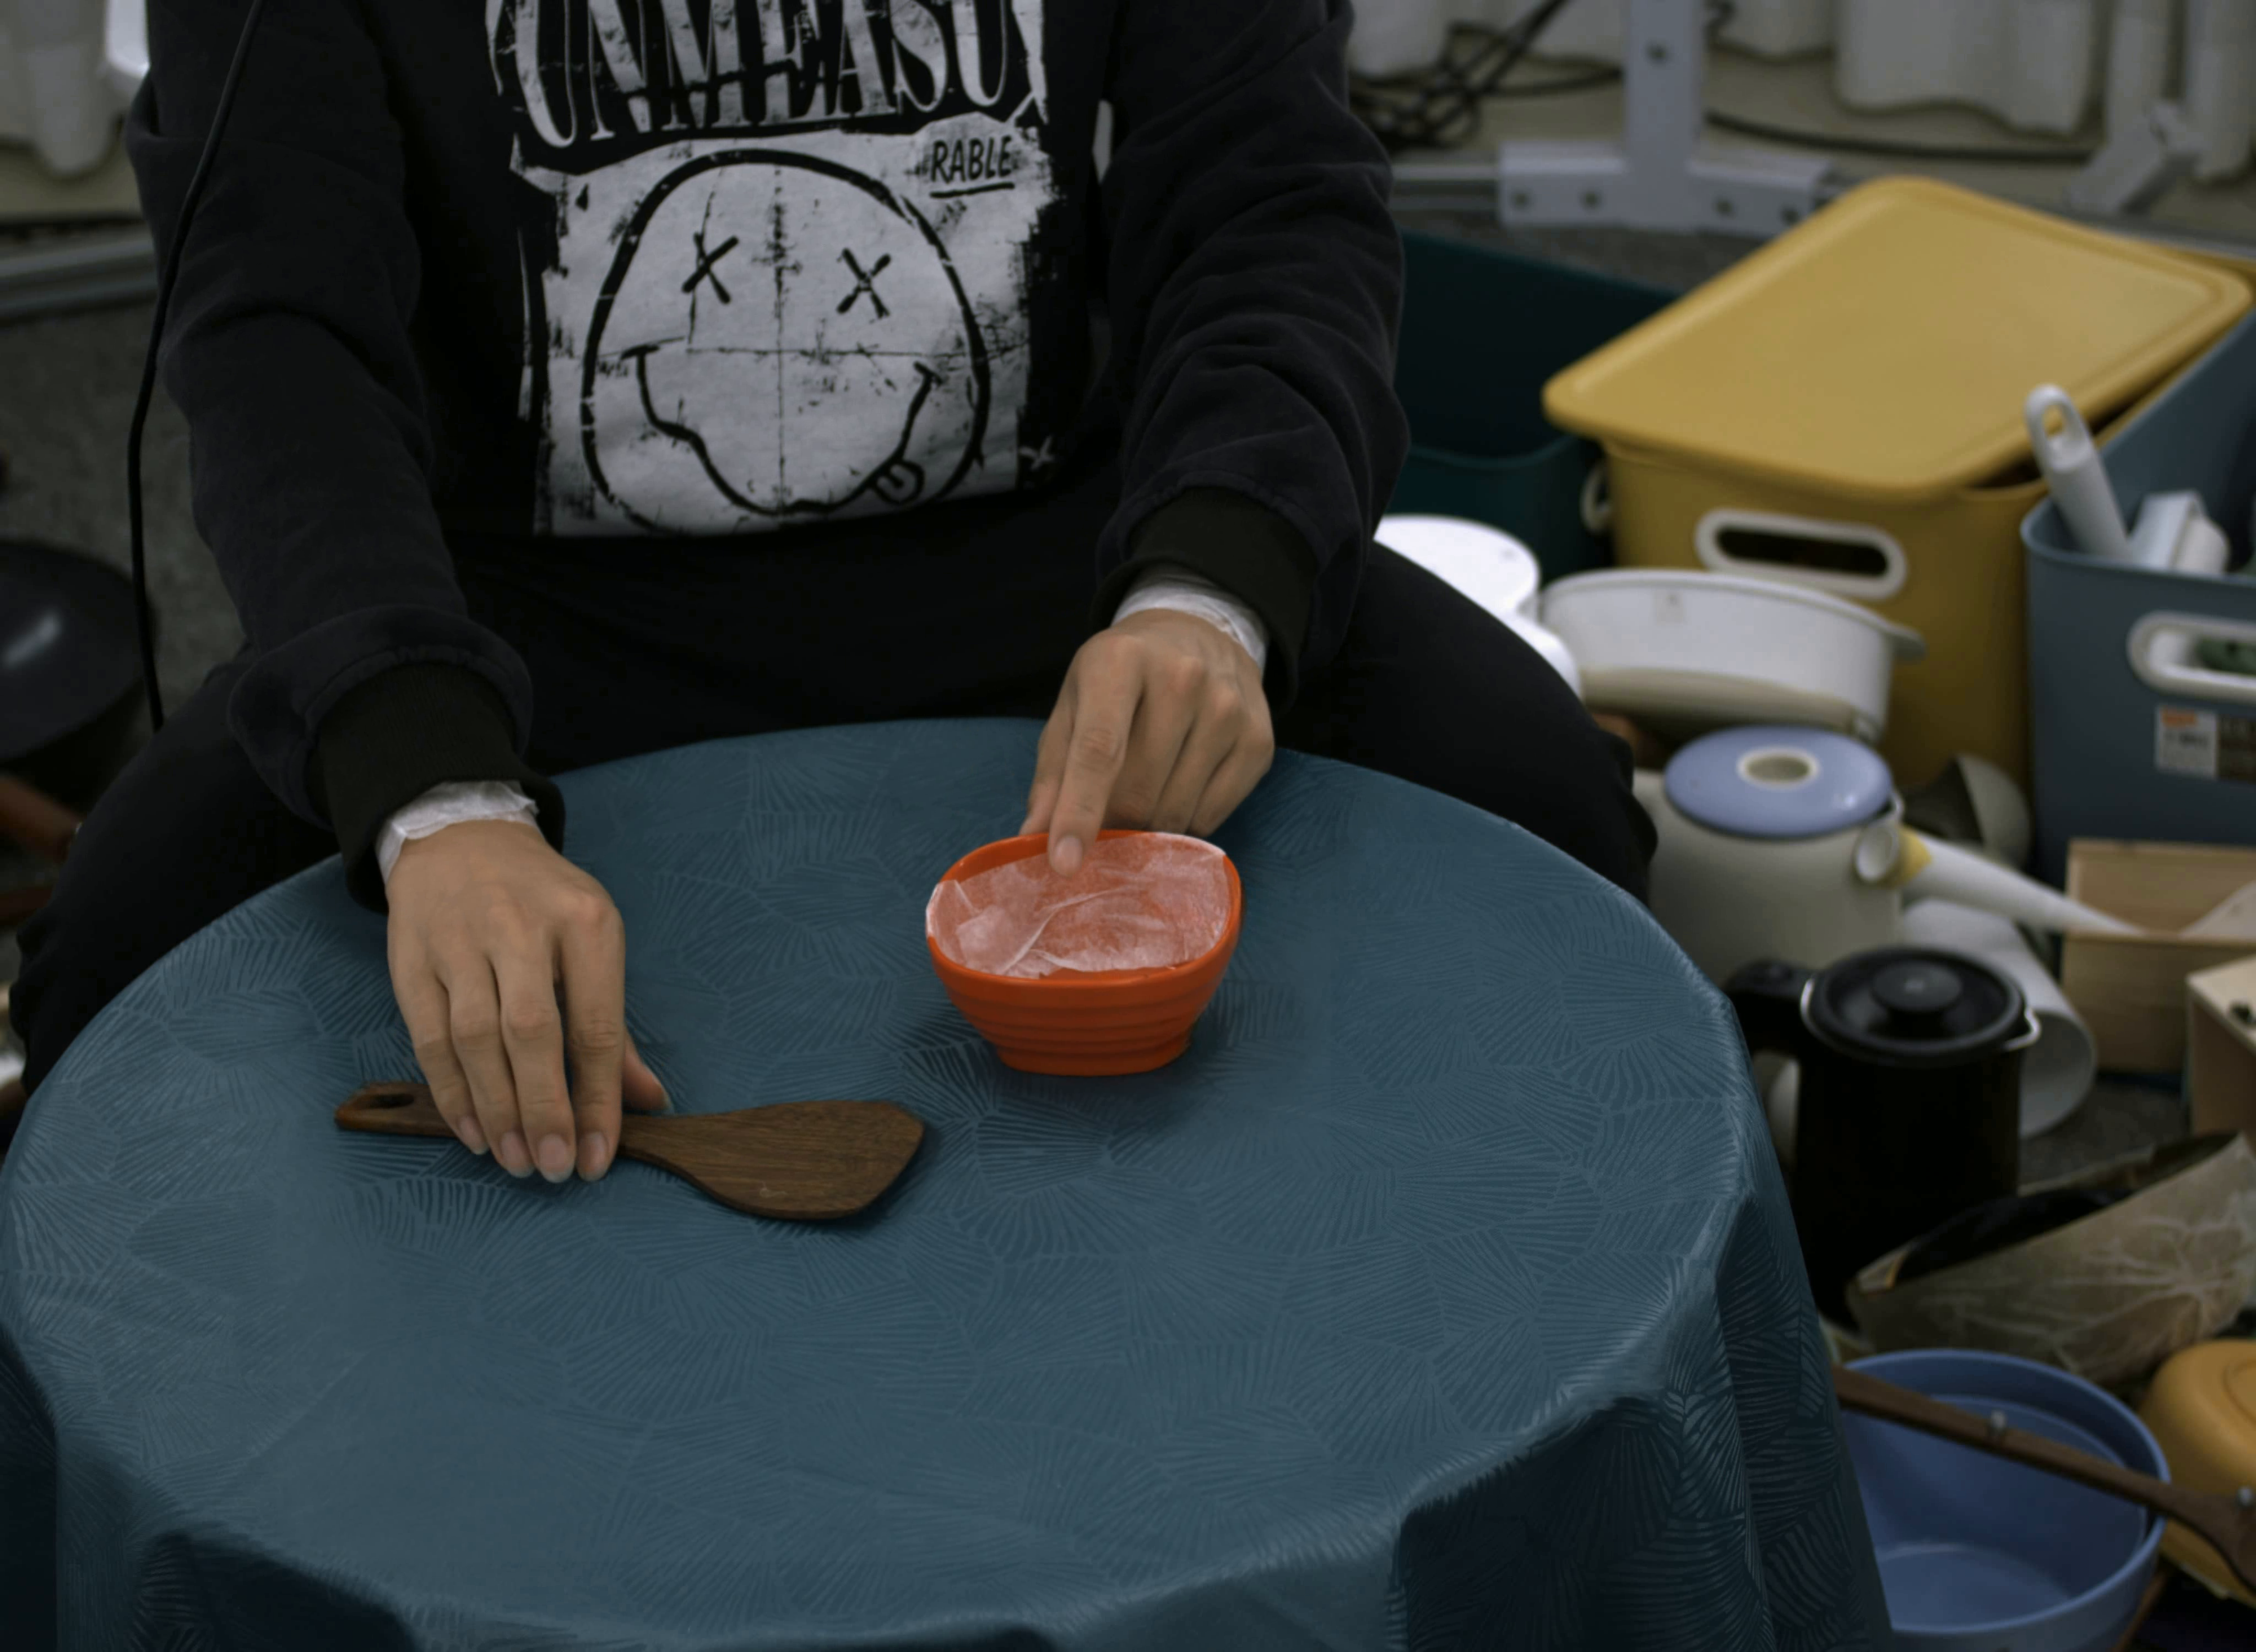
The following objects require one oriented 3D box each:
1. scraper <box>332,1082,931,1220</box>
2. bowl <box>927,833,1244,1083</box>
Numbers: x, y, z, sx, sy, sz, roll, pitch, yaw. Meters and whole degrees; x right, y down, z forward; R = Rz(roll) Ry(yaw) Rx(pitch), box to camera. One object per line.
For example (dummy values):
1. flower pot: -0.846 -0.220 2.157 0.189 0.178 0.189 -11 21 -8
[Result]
1. scraper: -0.171 0.105 1.901 0.210 0.011 0.077 5 27 17
2. bowl: -0.013 0.050 1.949 0.118 0.051 0.121 -3 28 2
